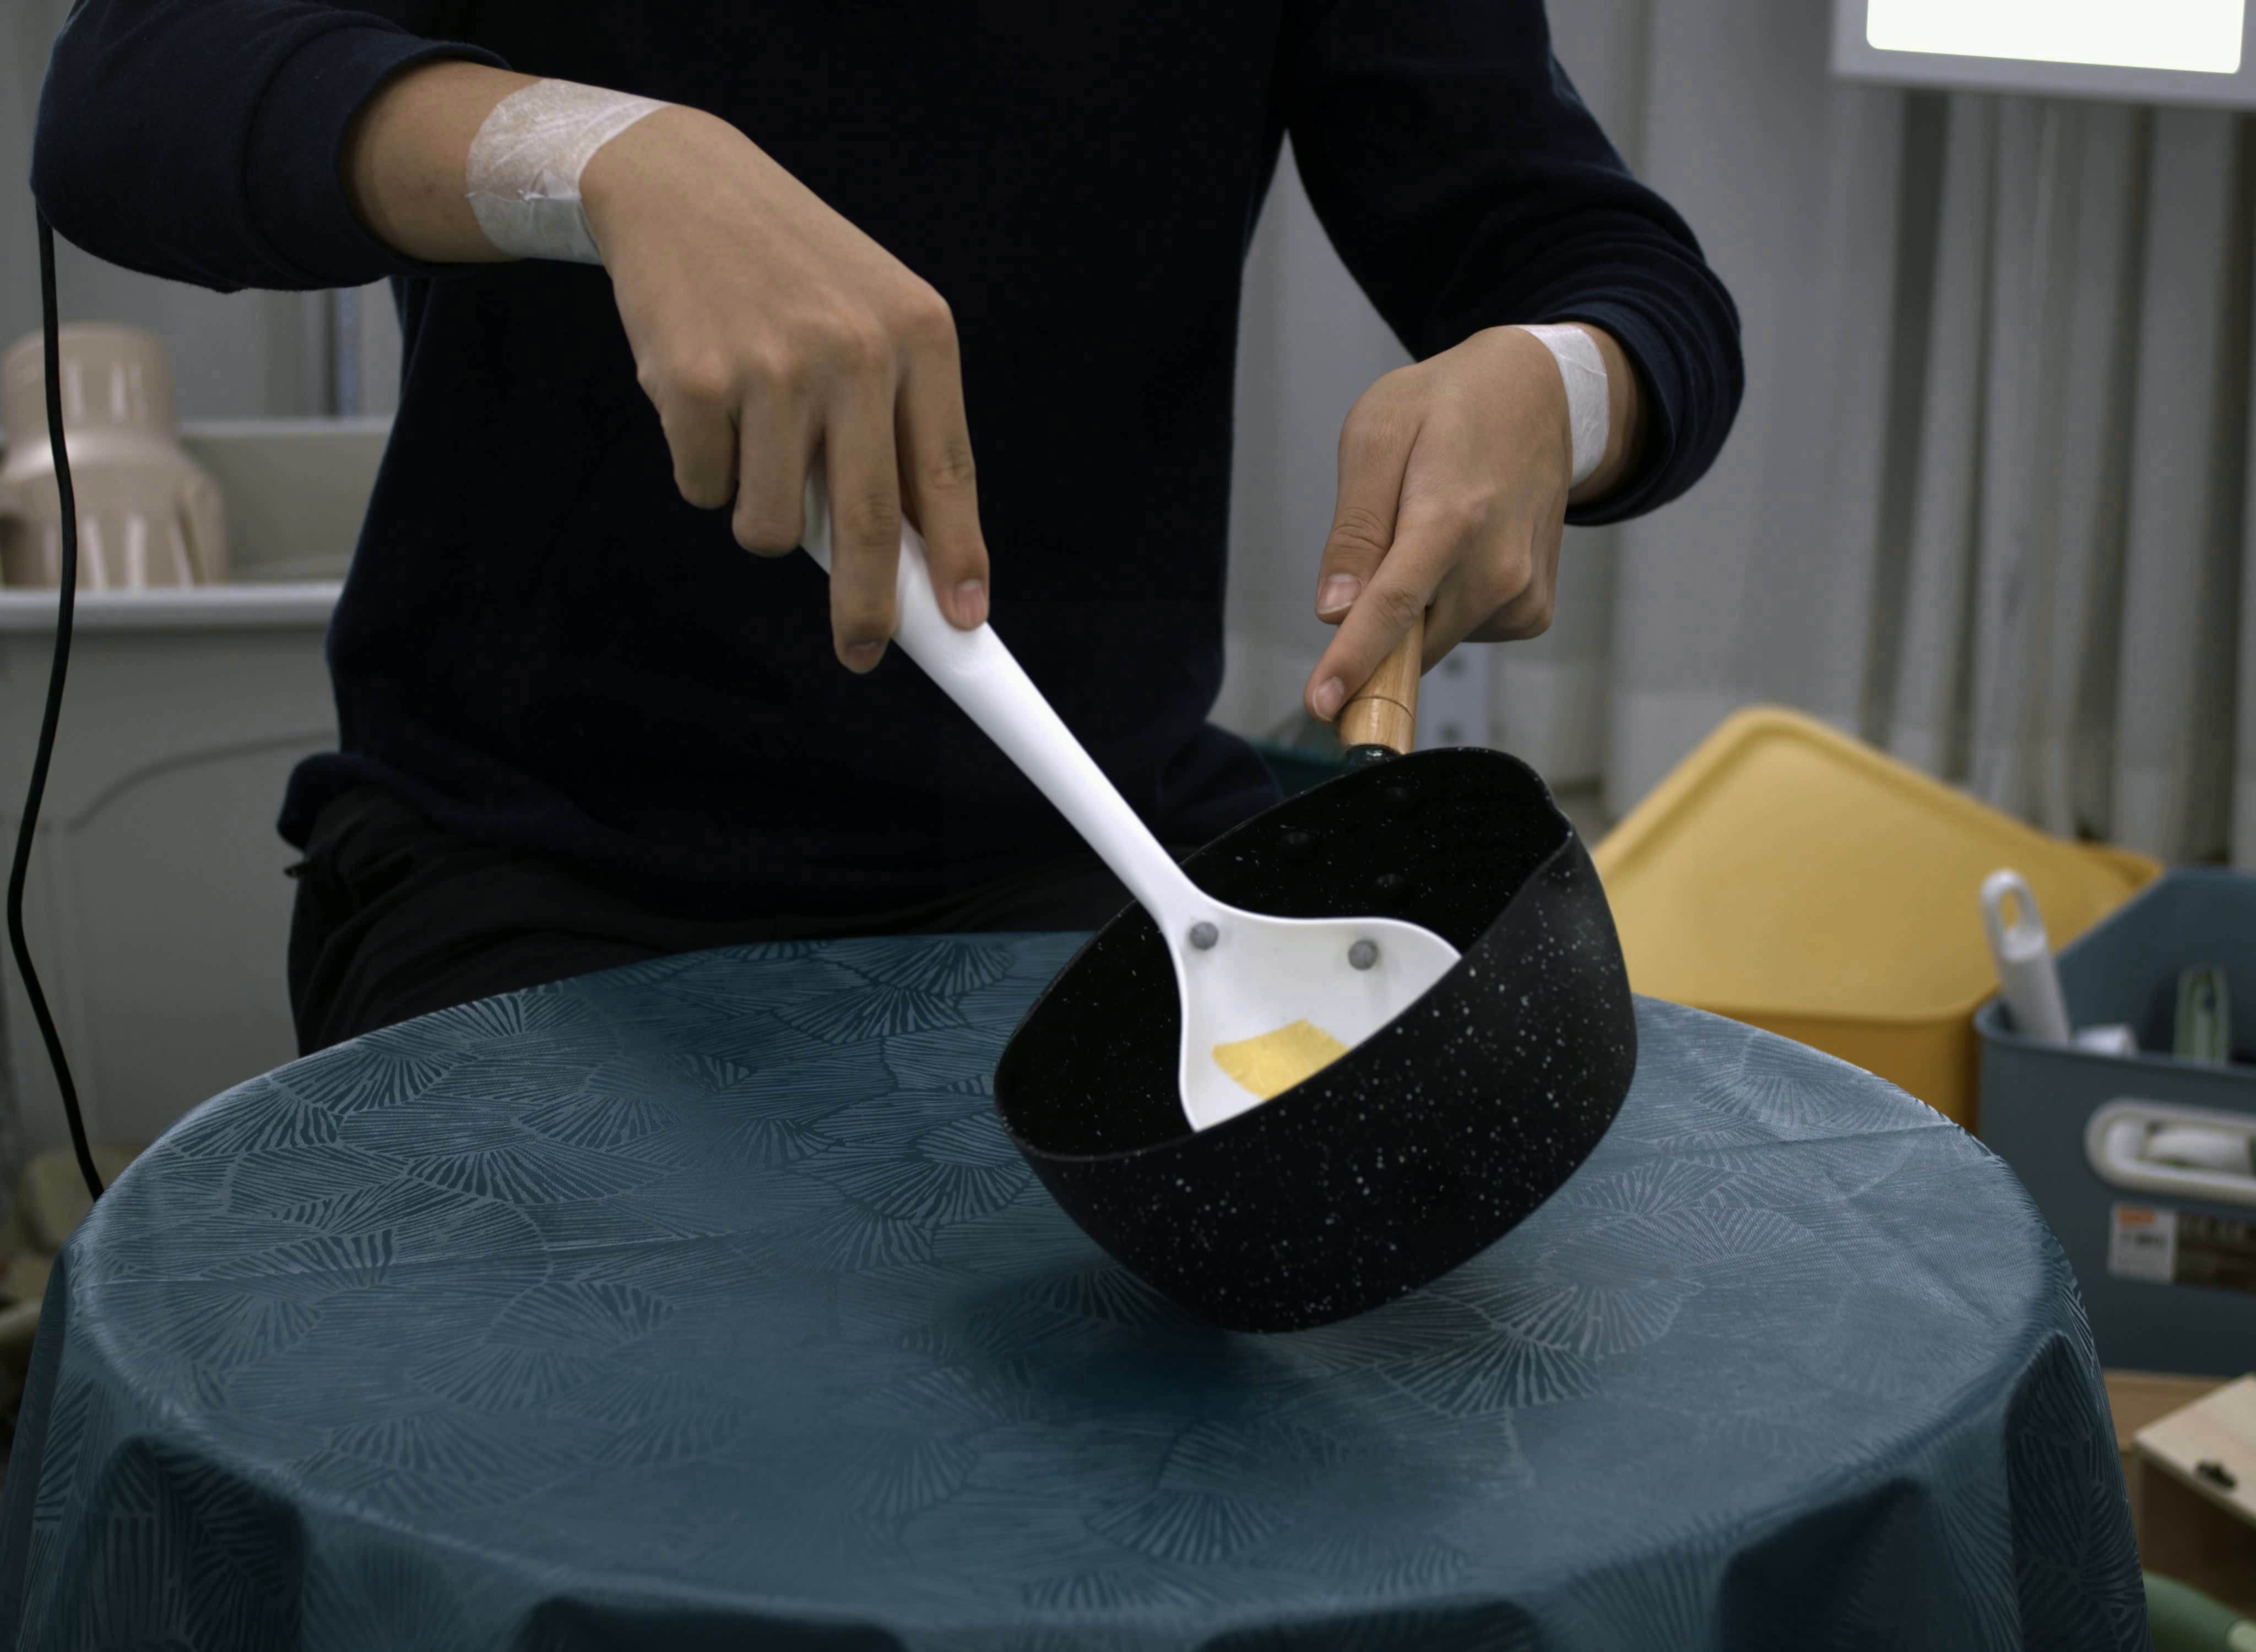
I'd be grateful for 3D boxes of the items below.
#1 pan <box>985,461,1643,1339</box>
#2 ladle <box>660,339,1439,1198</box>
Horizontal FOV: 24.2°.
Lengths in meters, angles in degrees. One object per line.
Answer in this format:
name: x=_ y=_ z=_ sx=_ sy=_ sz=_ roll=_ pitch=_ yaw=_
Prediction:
pan: x=0.071 y=0.016 z=1.575 sx=0.206 sy=0.109 sz=0.341 roll=-24 pitch=25 yaw=26
ladle: x=-0.028 y=-0.021 z=1.467 sx=0.090 sy=0.292 sz=0.070 roll=-40 pitch=-3 yaw=-3
